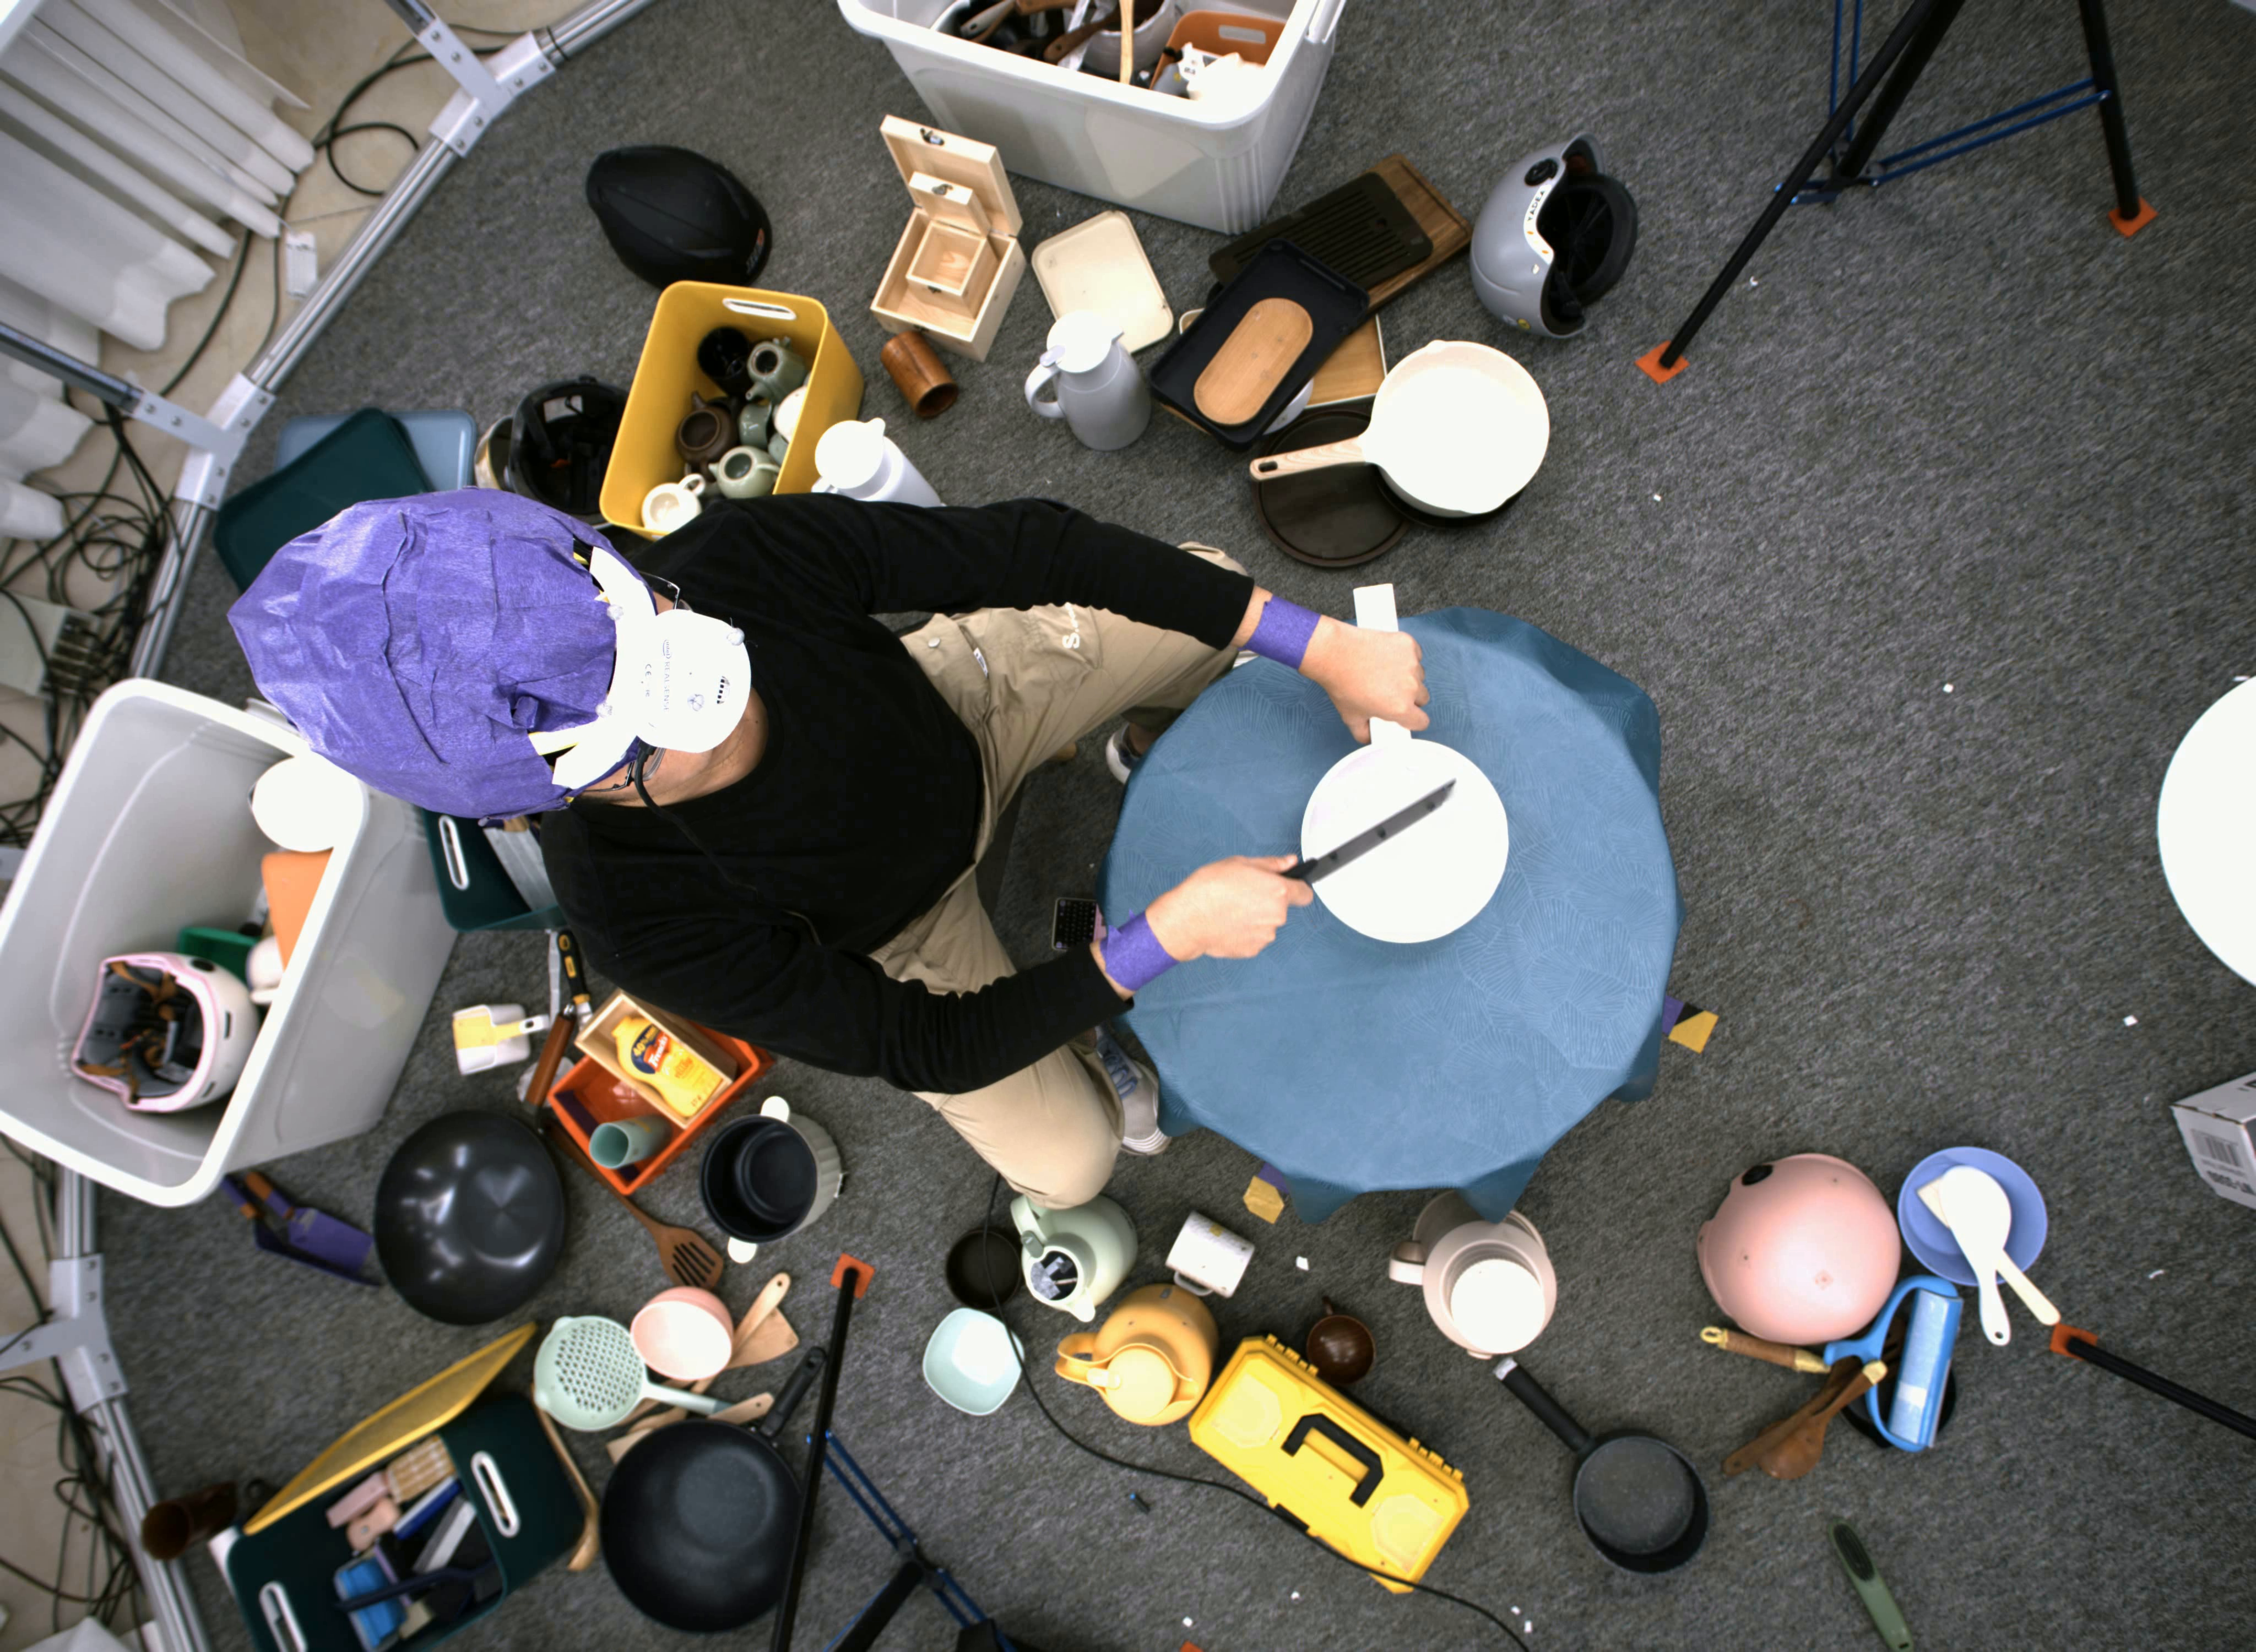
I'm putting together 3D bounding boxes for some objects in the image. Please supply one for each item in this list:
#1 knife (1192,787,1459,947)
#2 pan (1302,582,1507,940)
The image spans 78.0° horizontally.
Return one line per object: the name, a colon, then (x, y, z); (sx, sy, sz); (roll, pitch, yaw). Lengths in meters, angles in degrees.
knife: (0.189, 0.039, 1.298); (0.299, 0.083, 0.020); (-26, 67, -19)
pan: (0.271, -0.066, 1.401); (0.202, 0.101, 0.355); (-6, 92, 11)
